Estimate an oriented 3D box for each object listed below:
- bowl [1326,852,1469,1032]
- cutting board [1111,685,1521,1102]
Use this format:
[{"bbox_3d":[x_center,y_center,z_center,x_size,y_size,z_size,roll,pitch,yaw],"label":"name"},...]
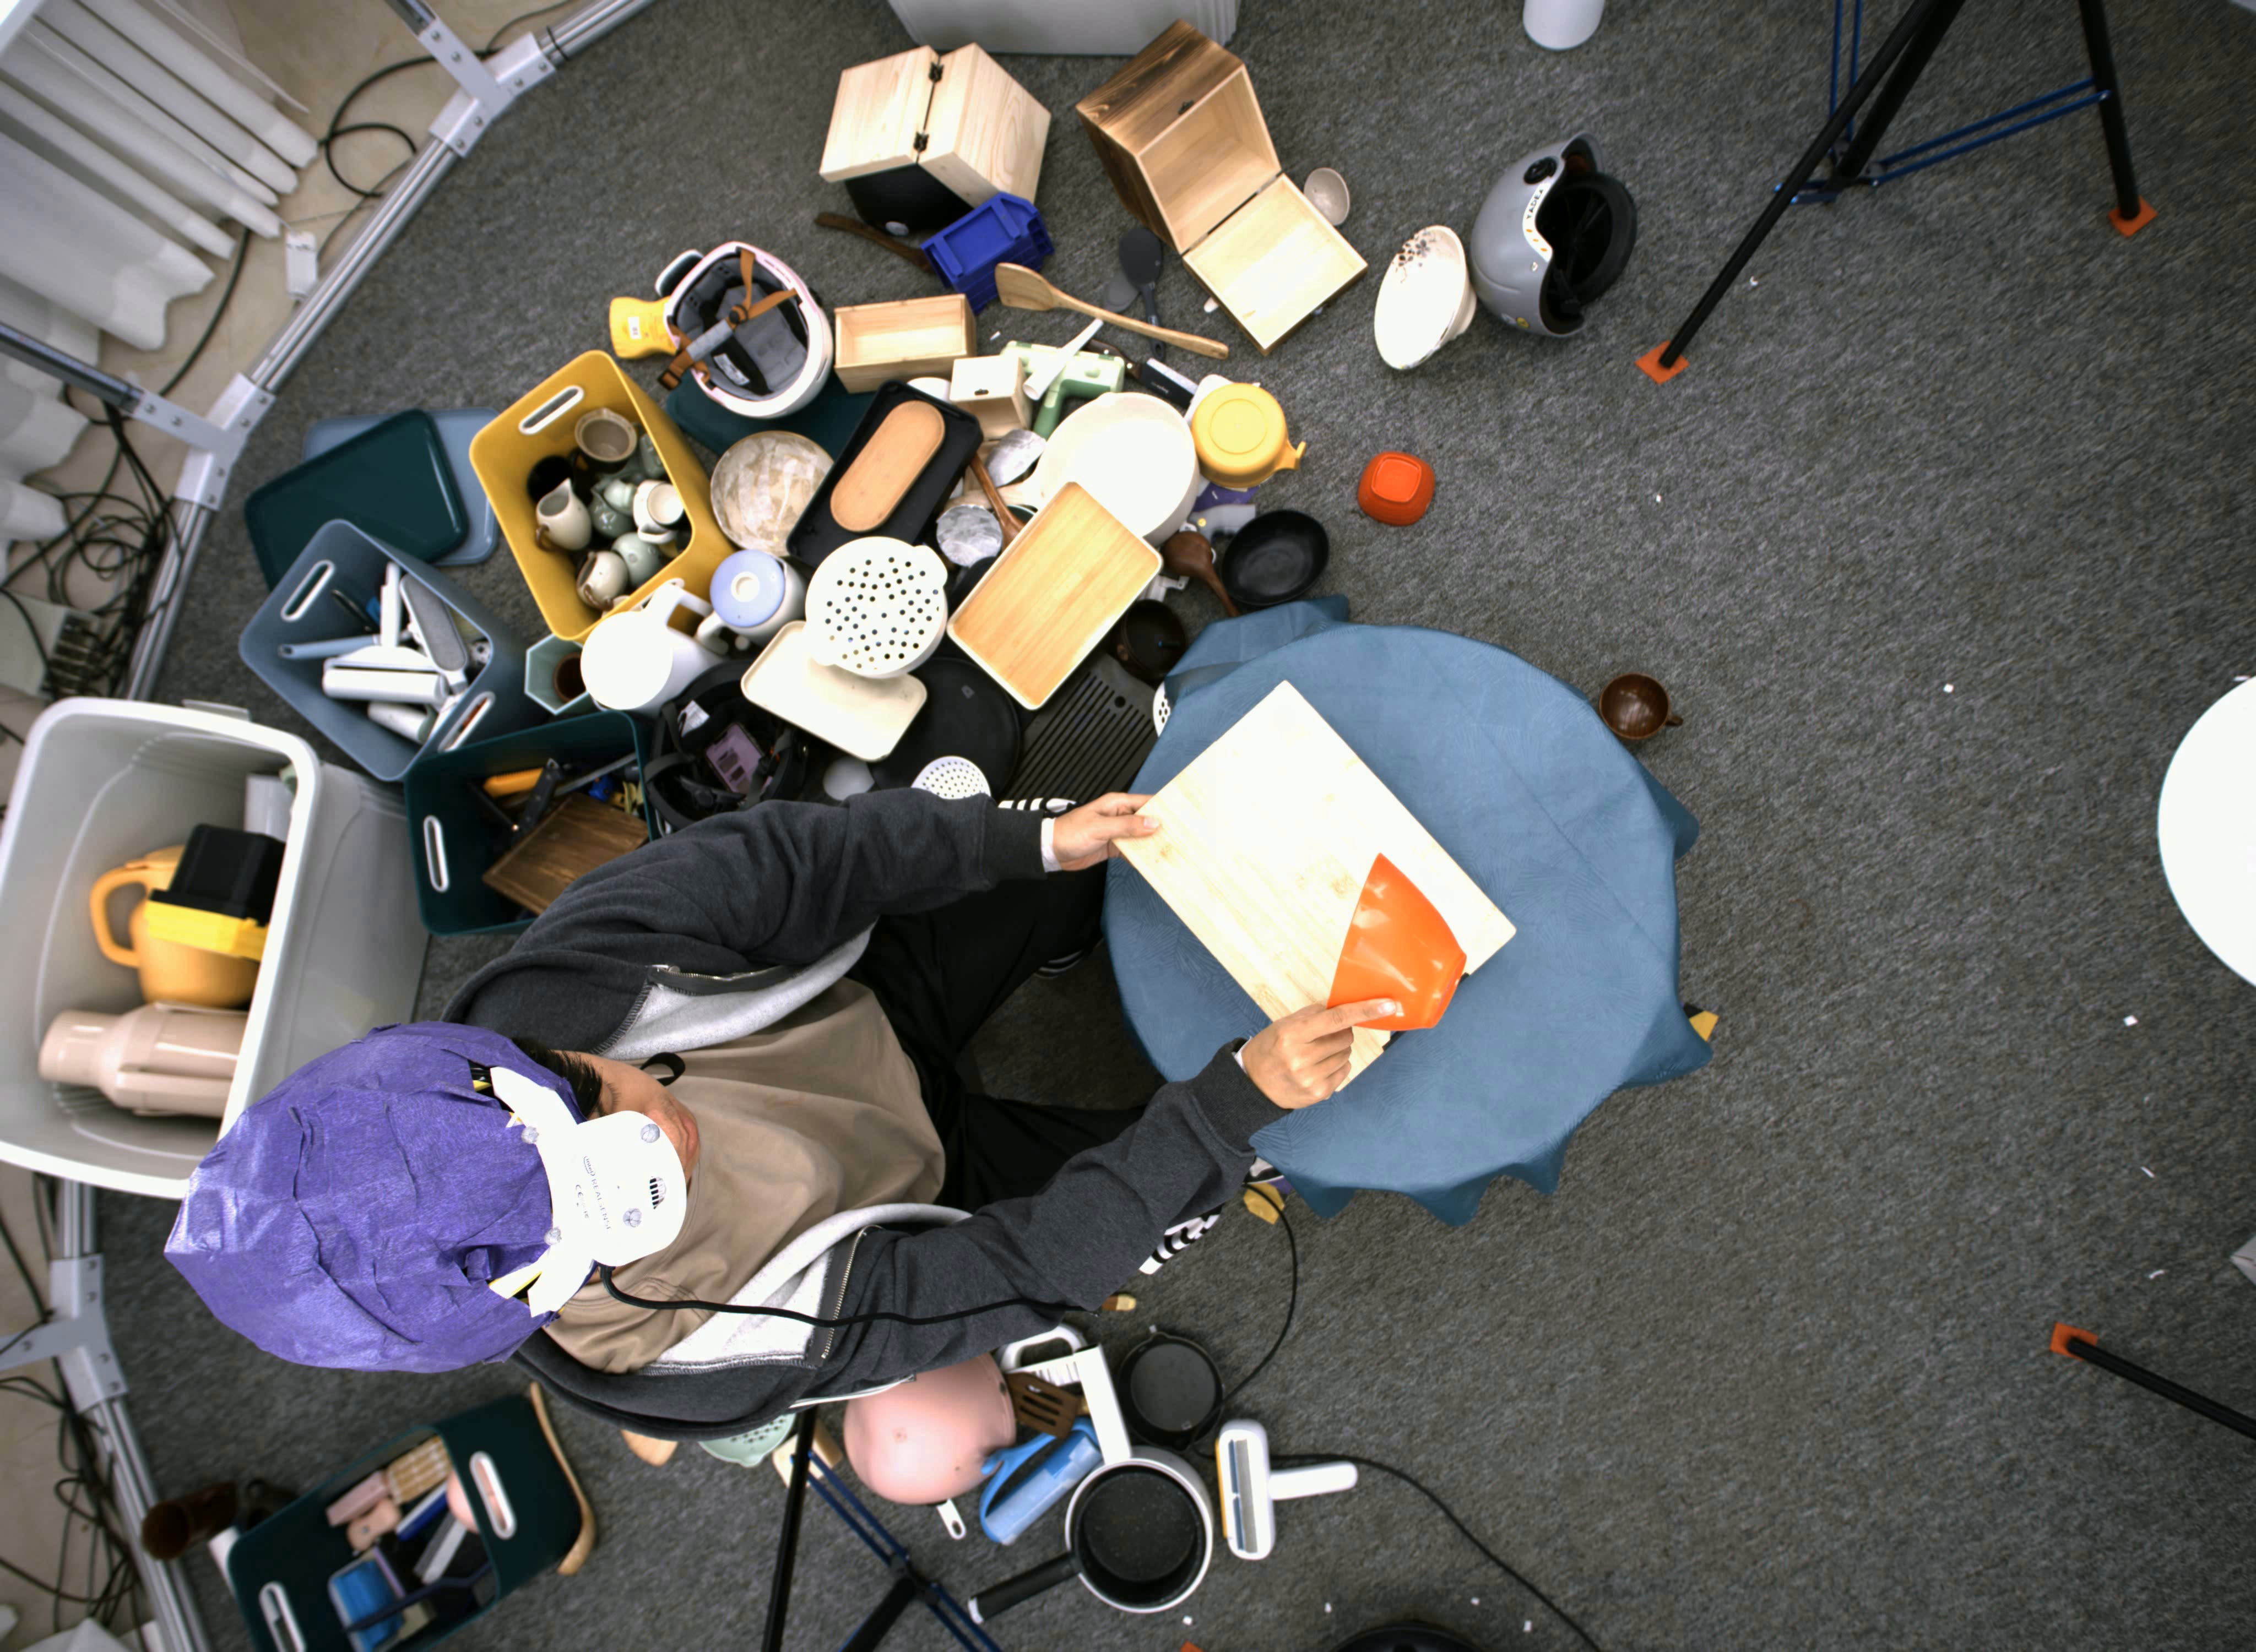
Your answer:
[{"bbox_3d":[0.228,0.108,1.152,0.104,0.148,0.148,27,90,19],"label":"bowl"},{"bbox_3d":[0.186,0.062,1.380,0.251,0.023,0.347,-43,85,3],"label":"cutting board"}]
